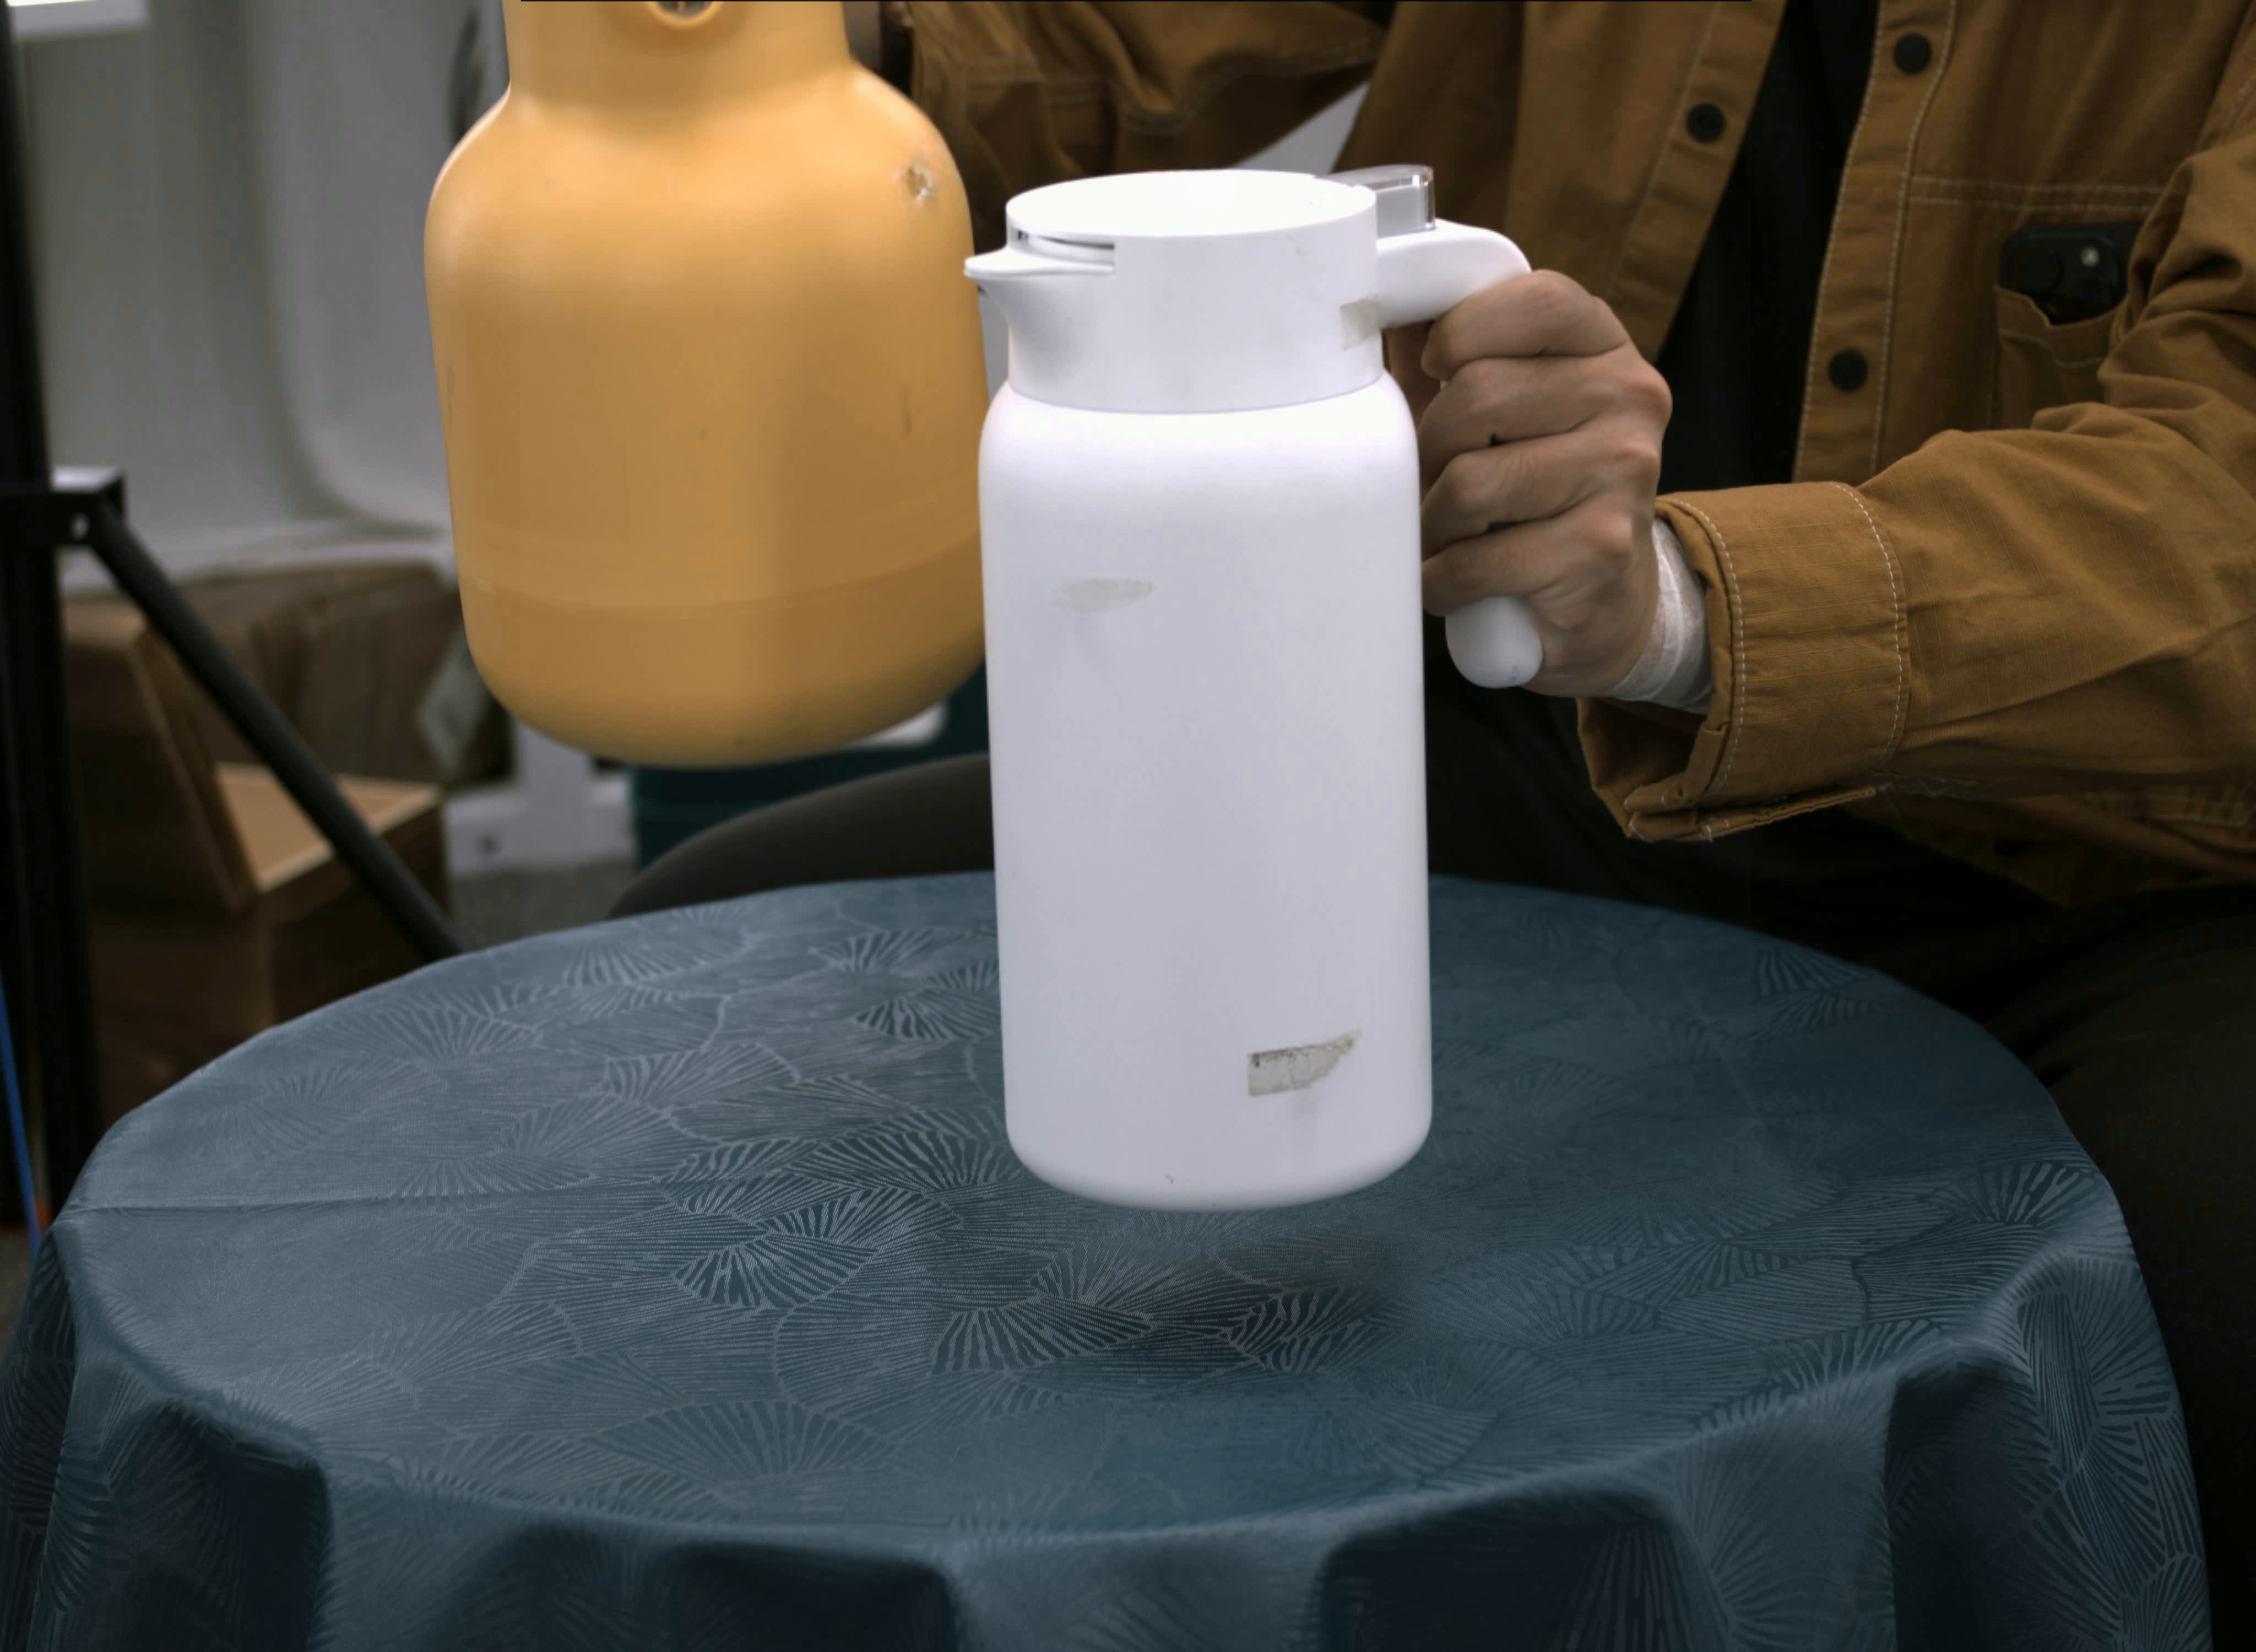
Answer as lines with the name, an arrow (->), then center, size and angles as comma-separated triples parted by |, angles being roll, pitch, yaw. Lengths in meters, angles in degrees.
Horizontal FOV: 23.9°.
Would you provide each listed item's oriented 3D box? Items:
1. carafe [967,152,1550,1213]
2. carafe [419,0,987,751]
carafe -> 0.036, -0.042, 1.423 | 0.169, 0.269, 0.126 | -11, 15, -30
carafe -> -0.127, -0.170, 1.580 | 0.162, 0.260, 0.204 | -3, 22, -5
